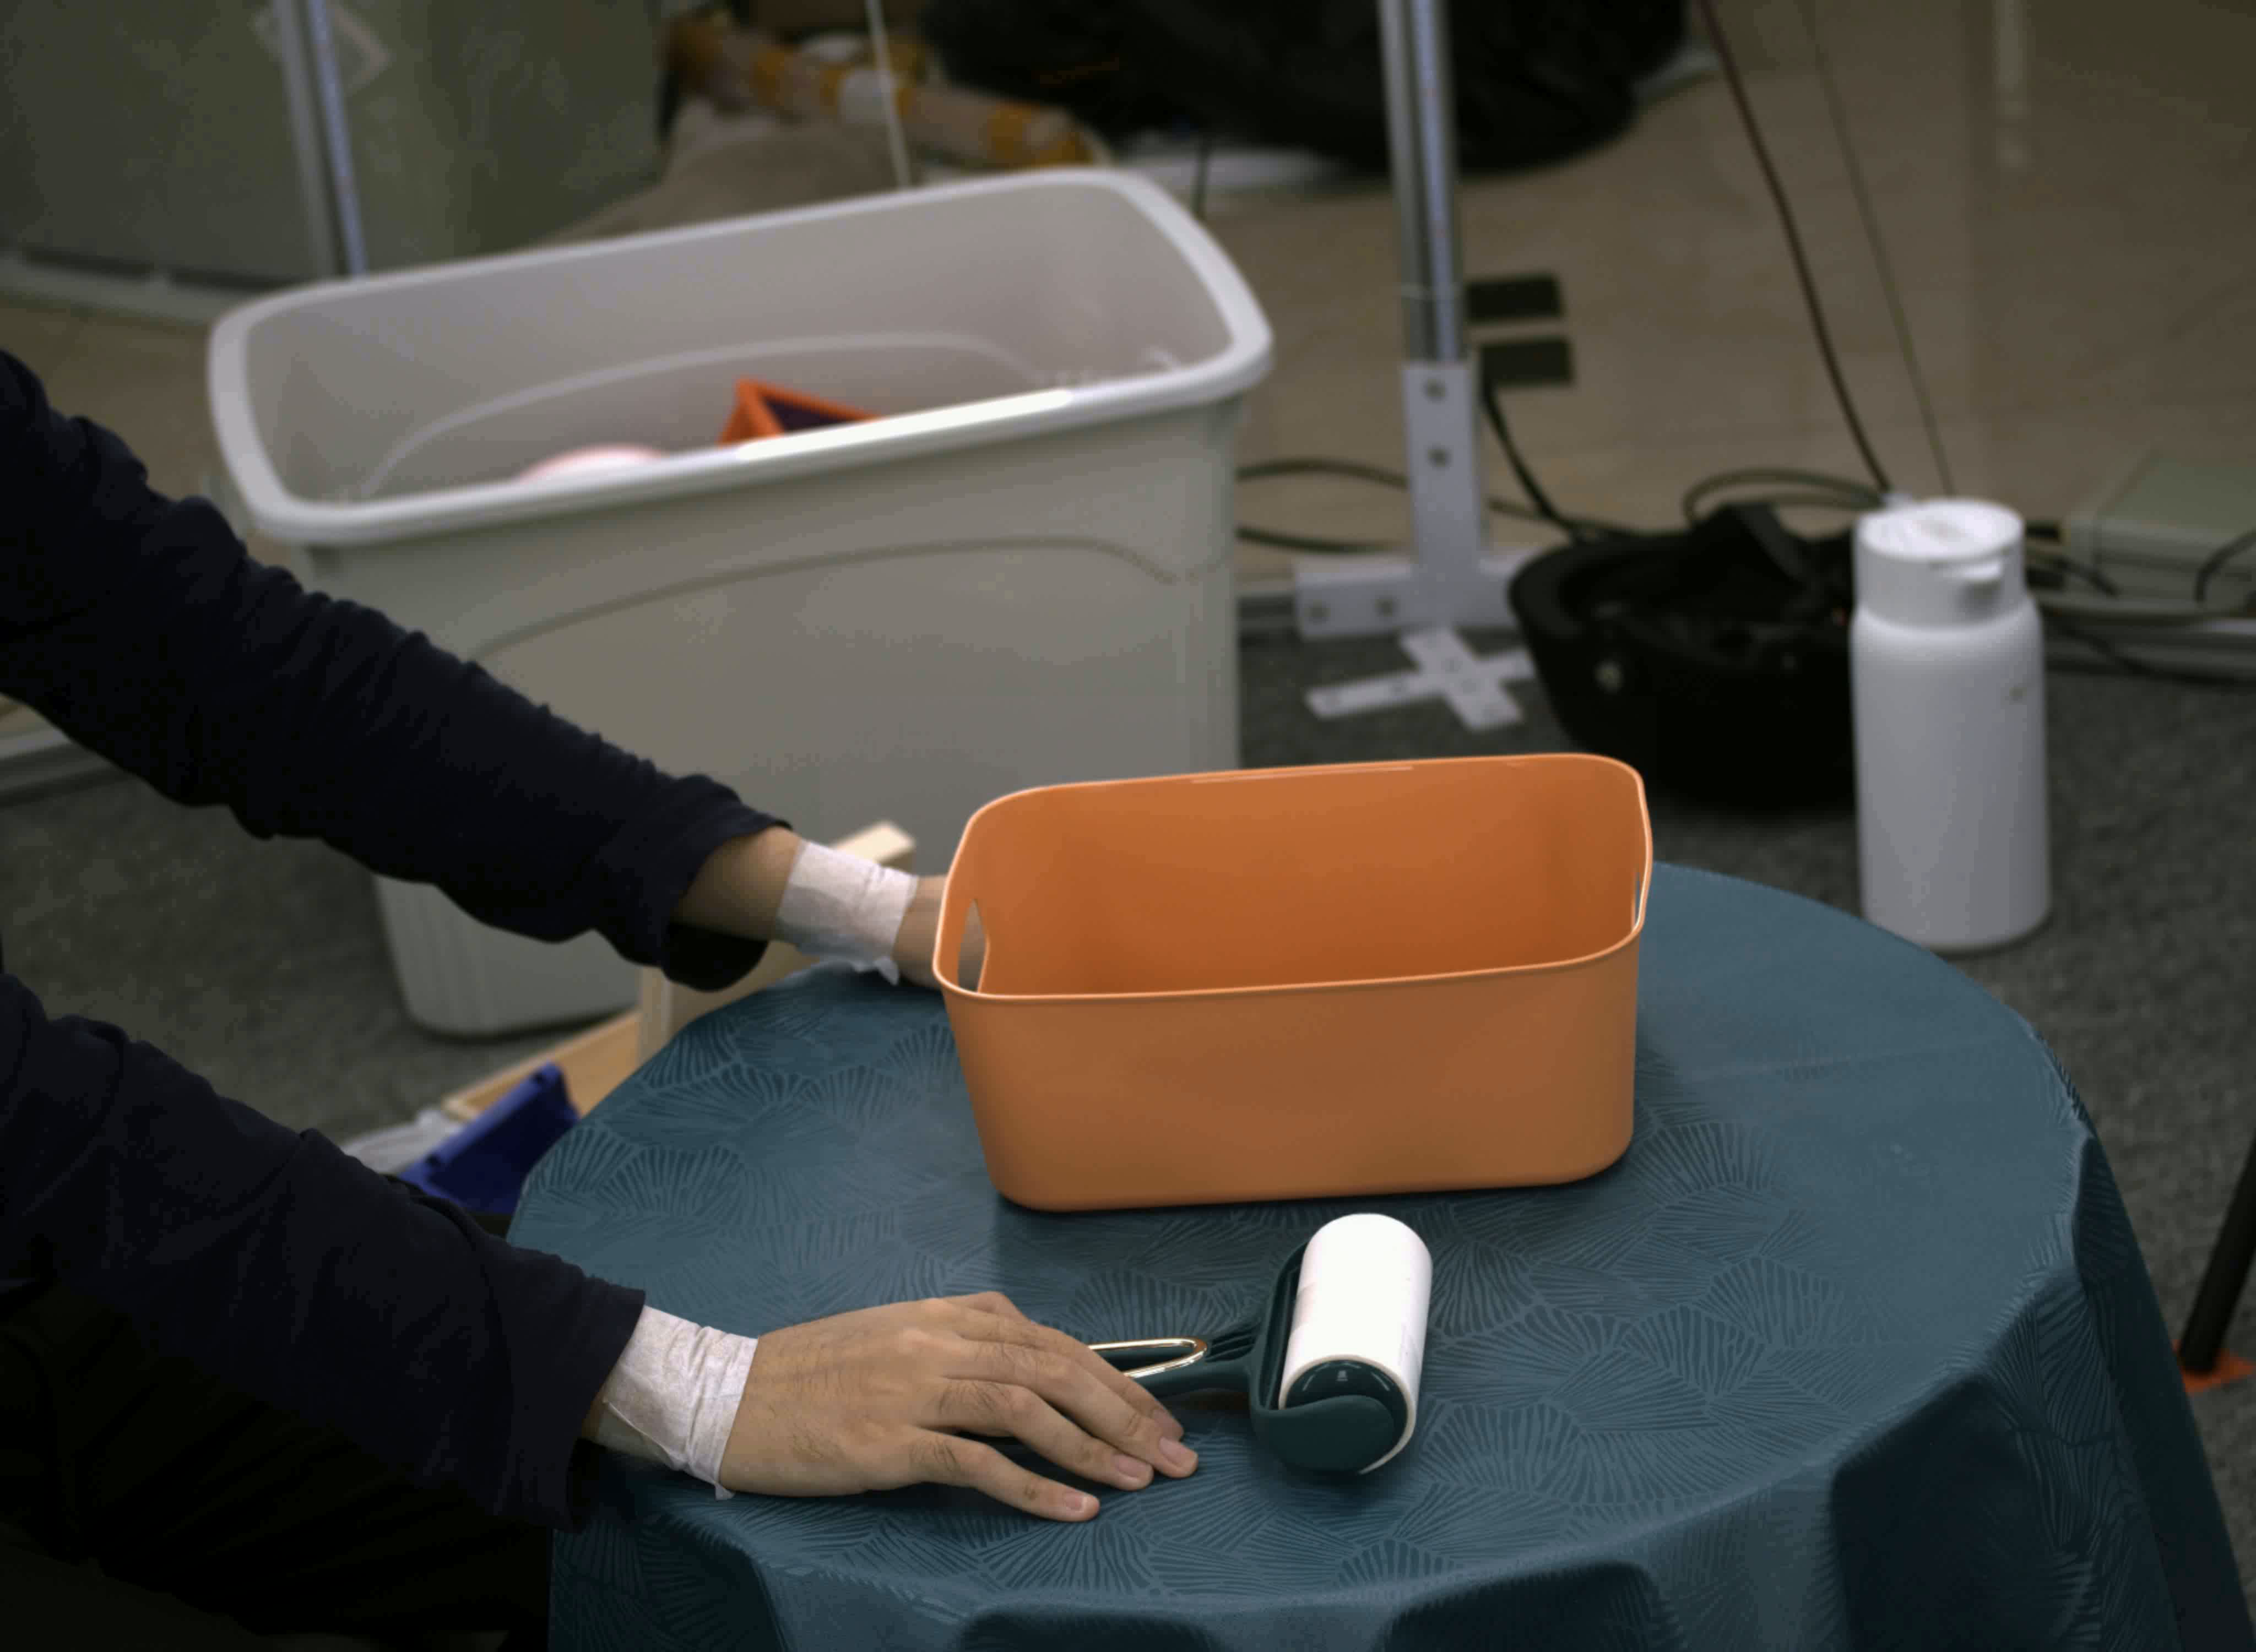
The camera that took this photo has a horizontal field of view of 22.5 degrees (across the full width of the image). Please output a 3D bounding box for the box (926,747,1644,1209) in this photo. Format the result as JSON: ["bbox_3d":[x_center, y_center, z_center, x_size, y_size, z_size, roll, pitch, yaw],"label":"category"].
[{"bbox_3d":[0.066,0.060,2.177,0.273,0.104,0.196,-4,25,6],"label":"box"}]

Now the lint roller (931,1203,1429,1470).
[{"bbox_3d":[0.014,0.187,1.998,0.180,0.049,0.132,-7,25,10],"label":"lint roller"}]
